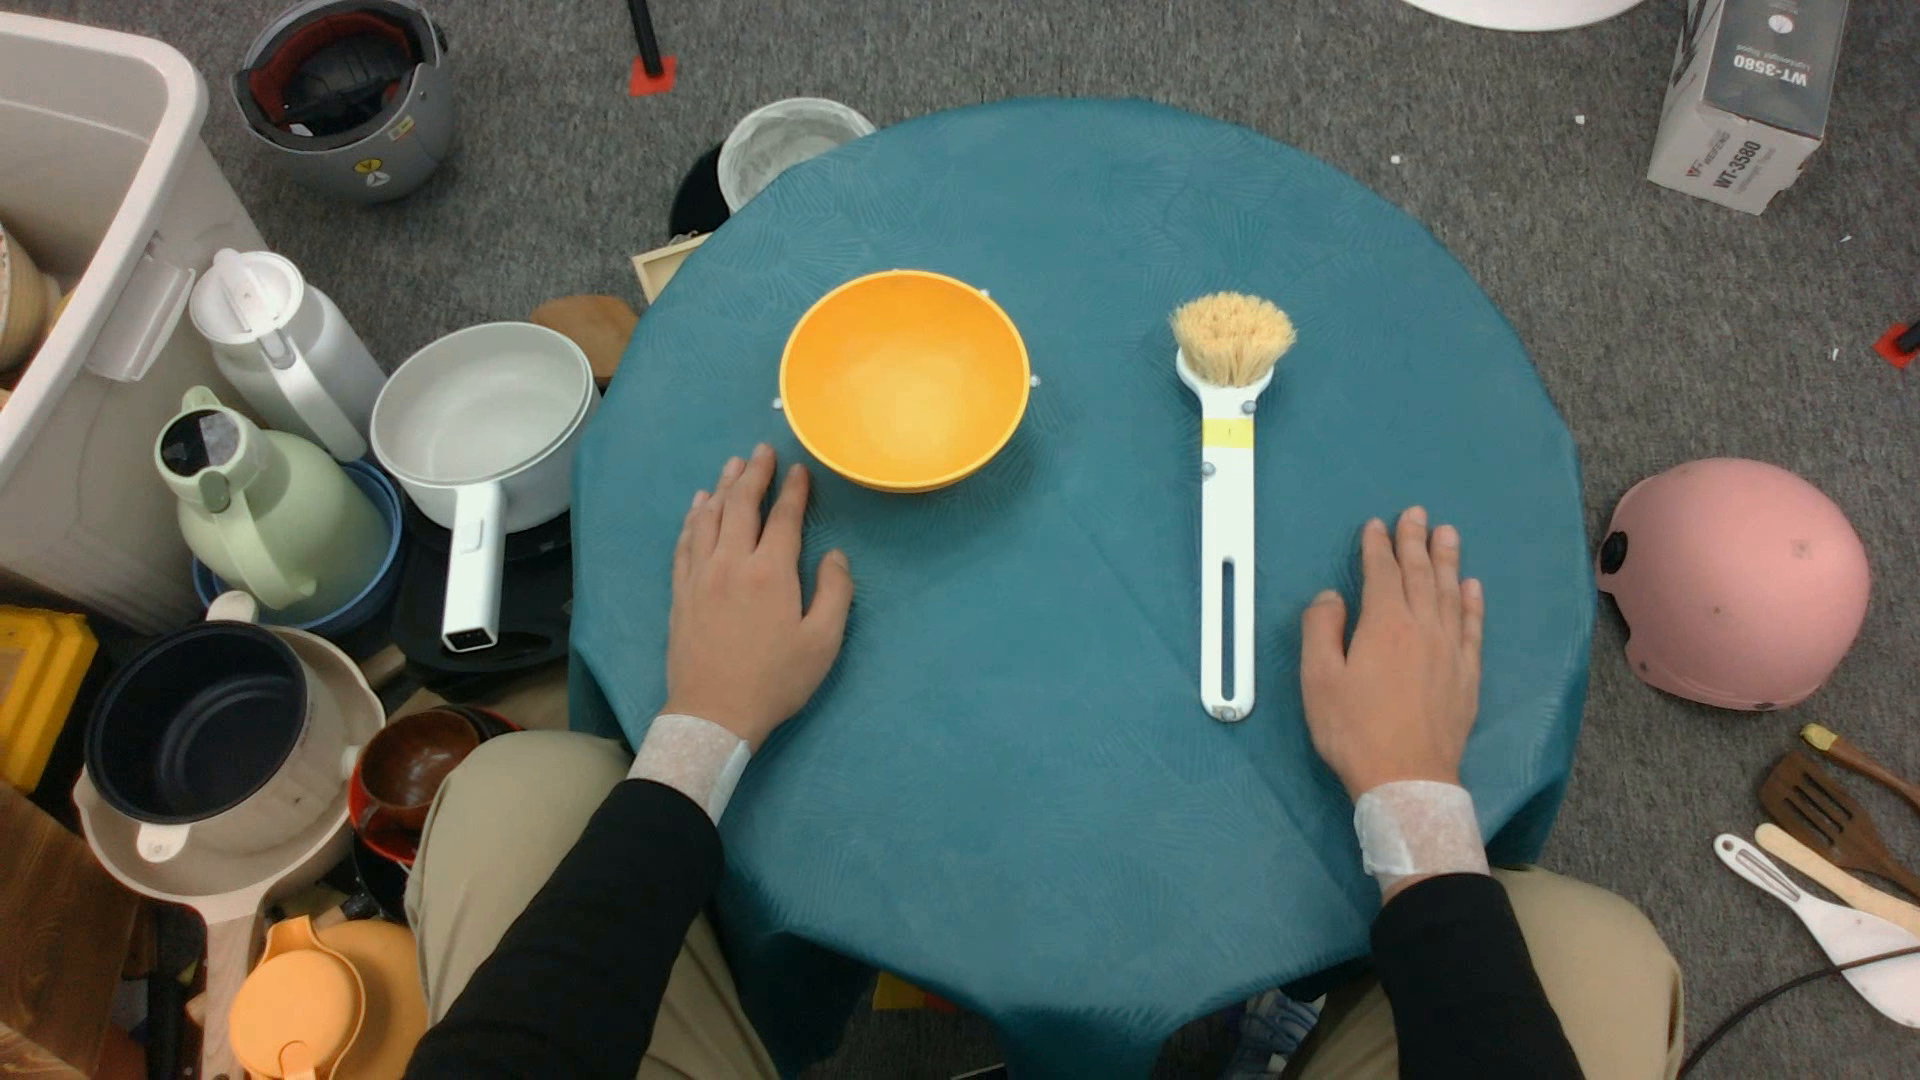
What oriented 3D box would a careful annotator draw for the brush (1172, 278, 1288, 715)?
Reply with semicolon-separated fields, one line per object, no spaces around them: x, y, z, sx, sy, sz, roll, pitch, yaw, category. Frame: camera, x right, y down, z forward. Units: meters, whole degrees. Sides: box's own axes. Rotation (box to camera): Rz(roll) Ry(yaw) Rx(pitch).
0.154;-0.035;0.796;0.068;0.056;0.267;2;67;6;brush

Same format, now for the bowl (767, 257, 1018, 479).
-0.038;-0.092;0.815;0.145;0.060;0.146;0;67;1;bowl
